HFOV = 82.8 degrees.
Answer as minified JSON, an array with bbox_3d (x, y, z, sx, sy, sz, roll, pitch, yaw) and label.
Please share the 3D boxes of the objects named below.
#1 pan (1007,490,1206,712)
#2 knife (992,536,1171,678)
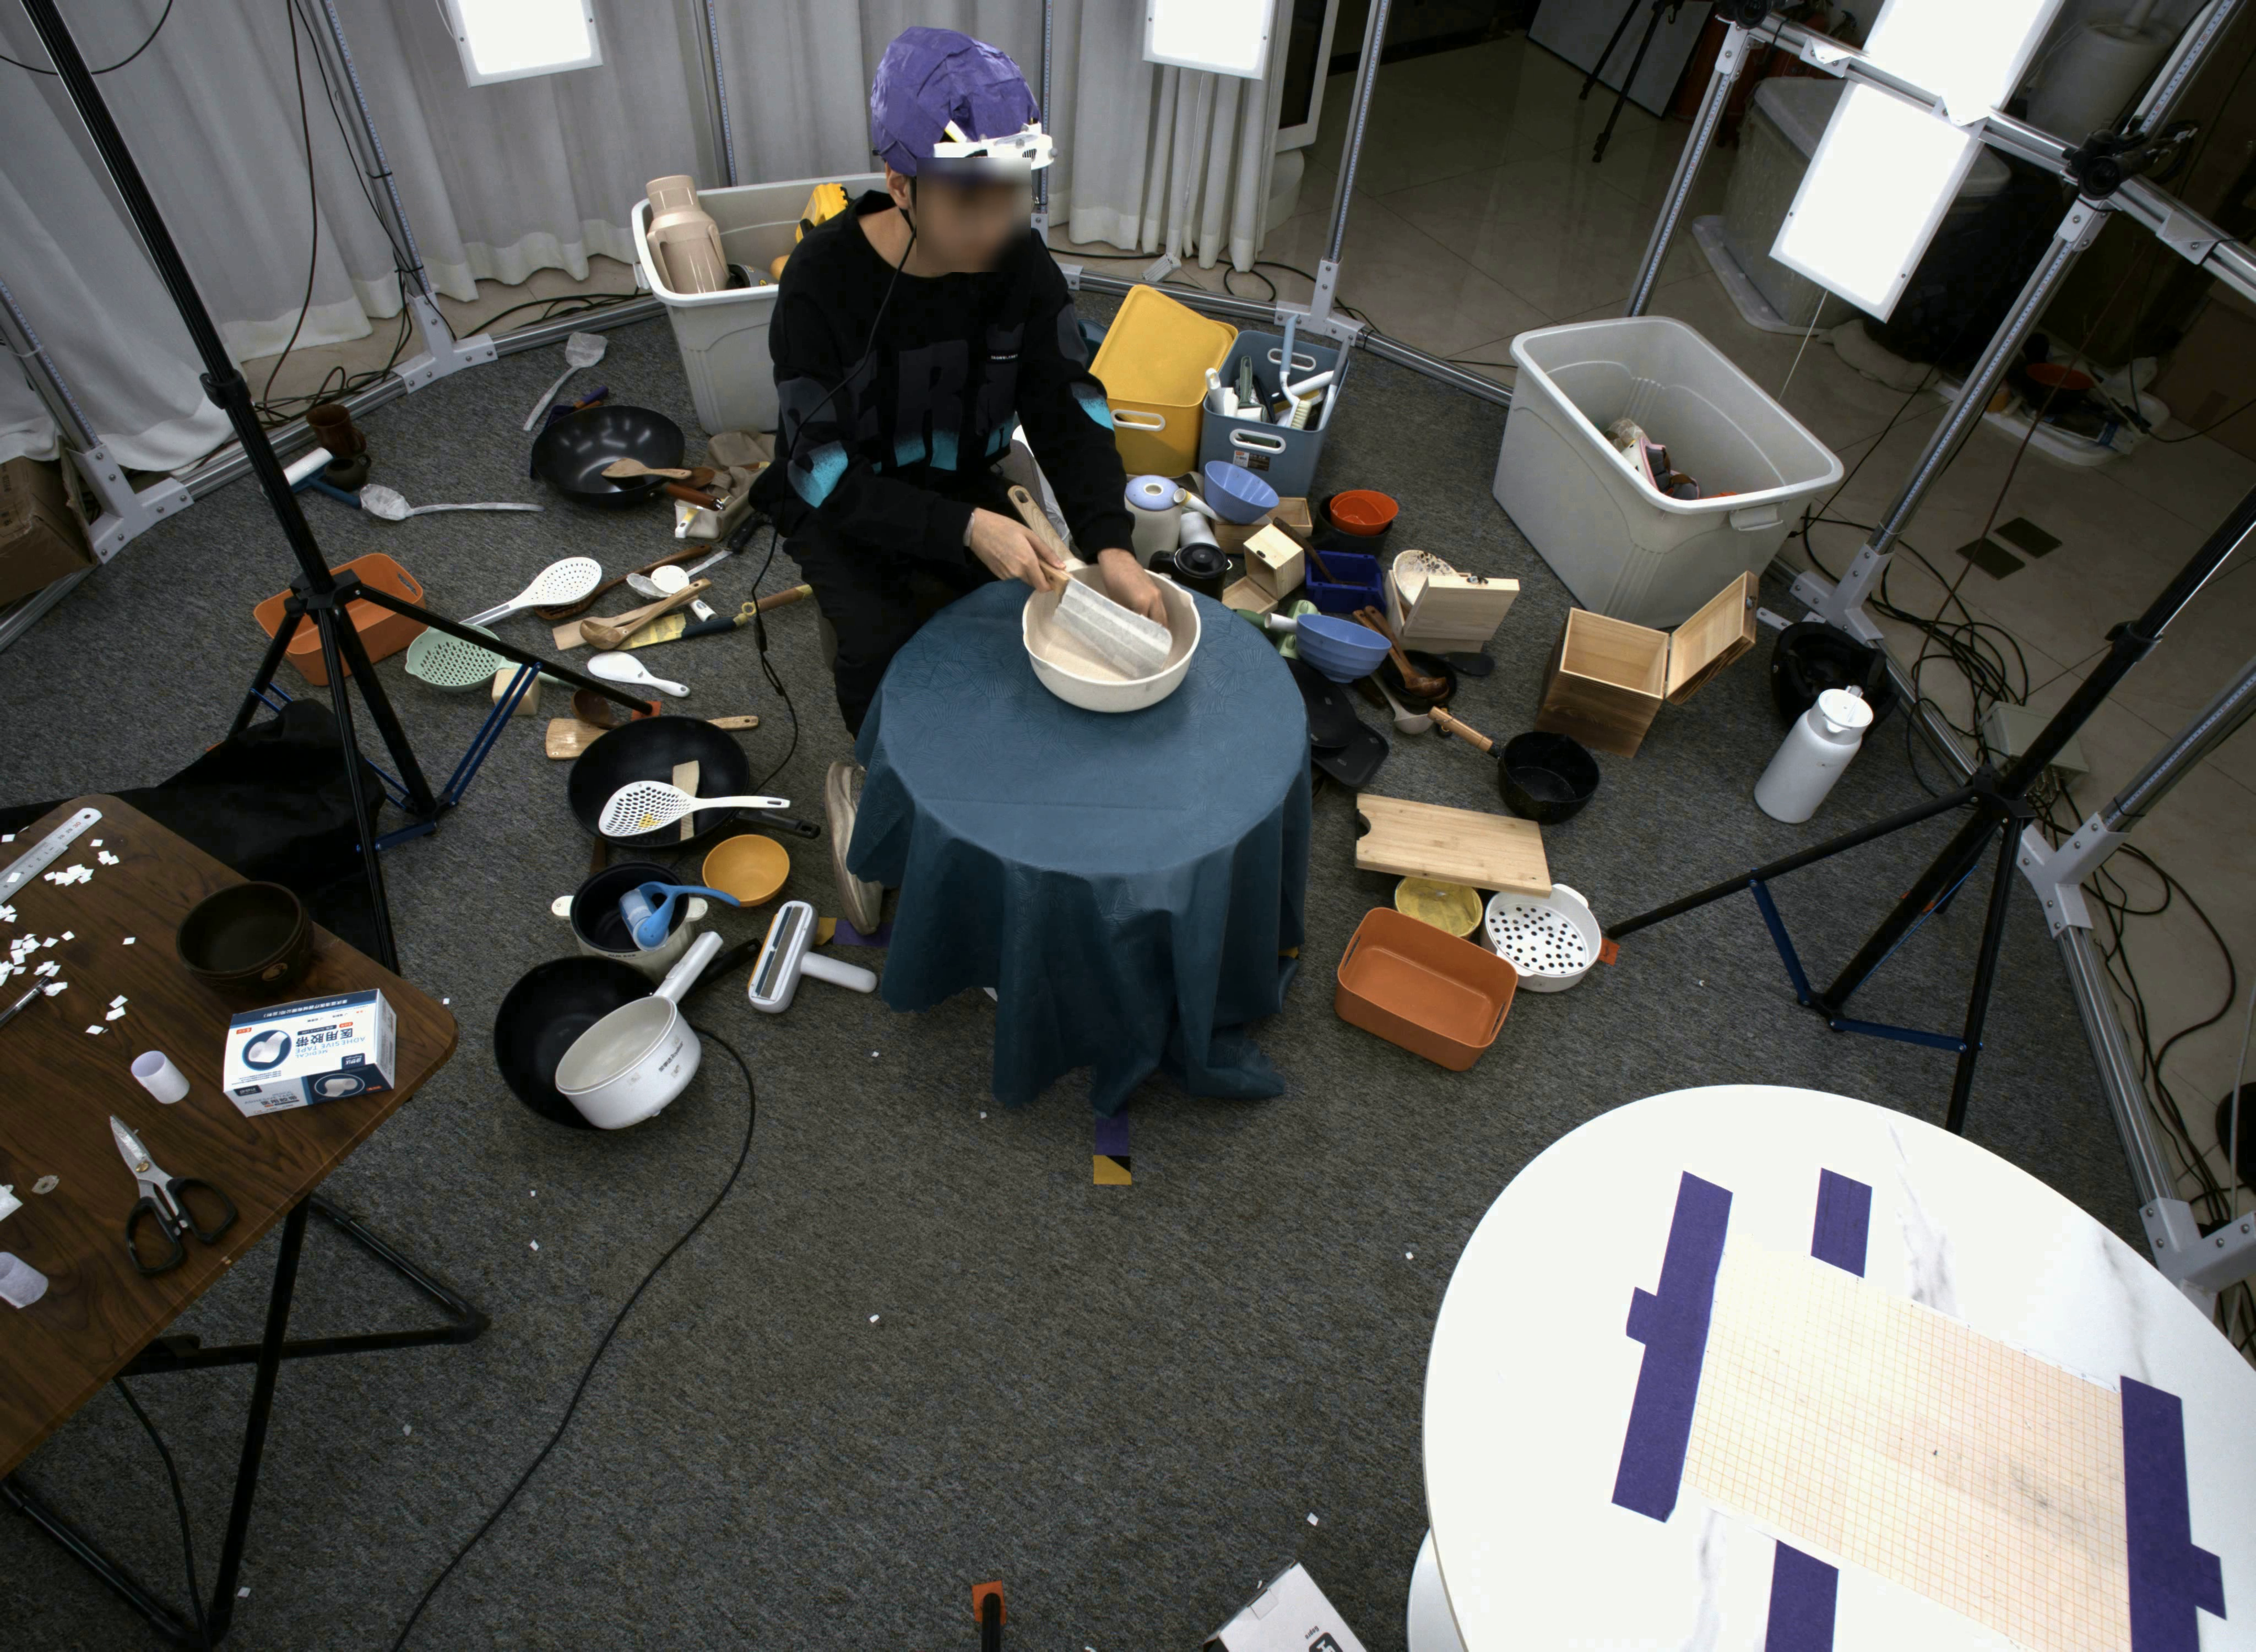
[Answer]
[{"bbox_3d":[-0.063,-0.333,1.889,0.264,0.099,0.444,-23,55,-20],"label":"pan"},{"bbox_3d":[-0.066,-0.313,1.823,0.317,0.111,0.022,37,44,10],"label":"knife"}]
